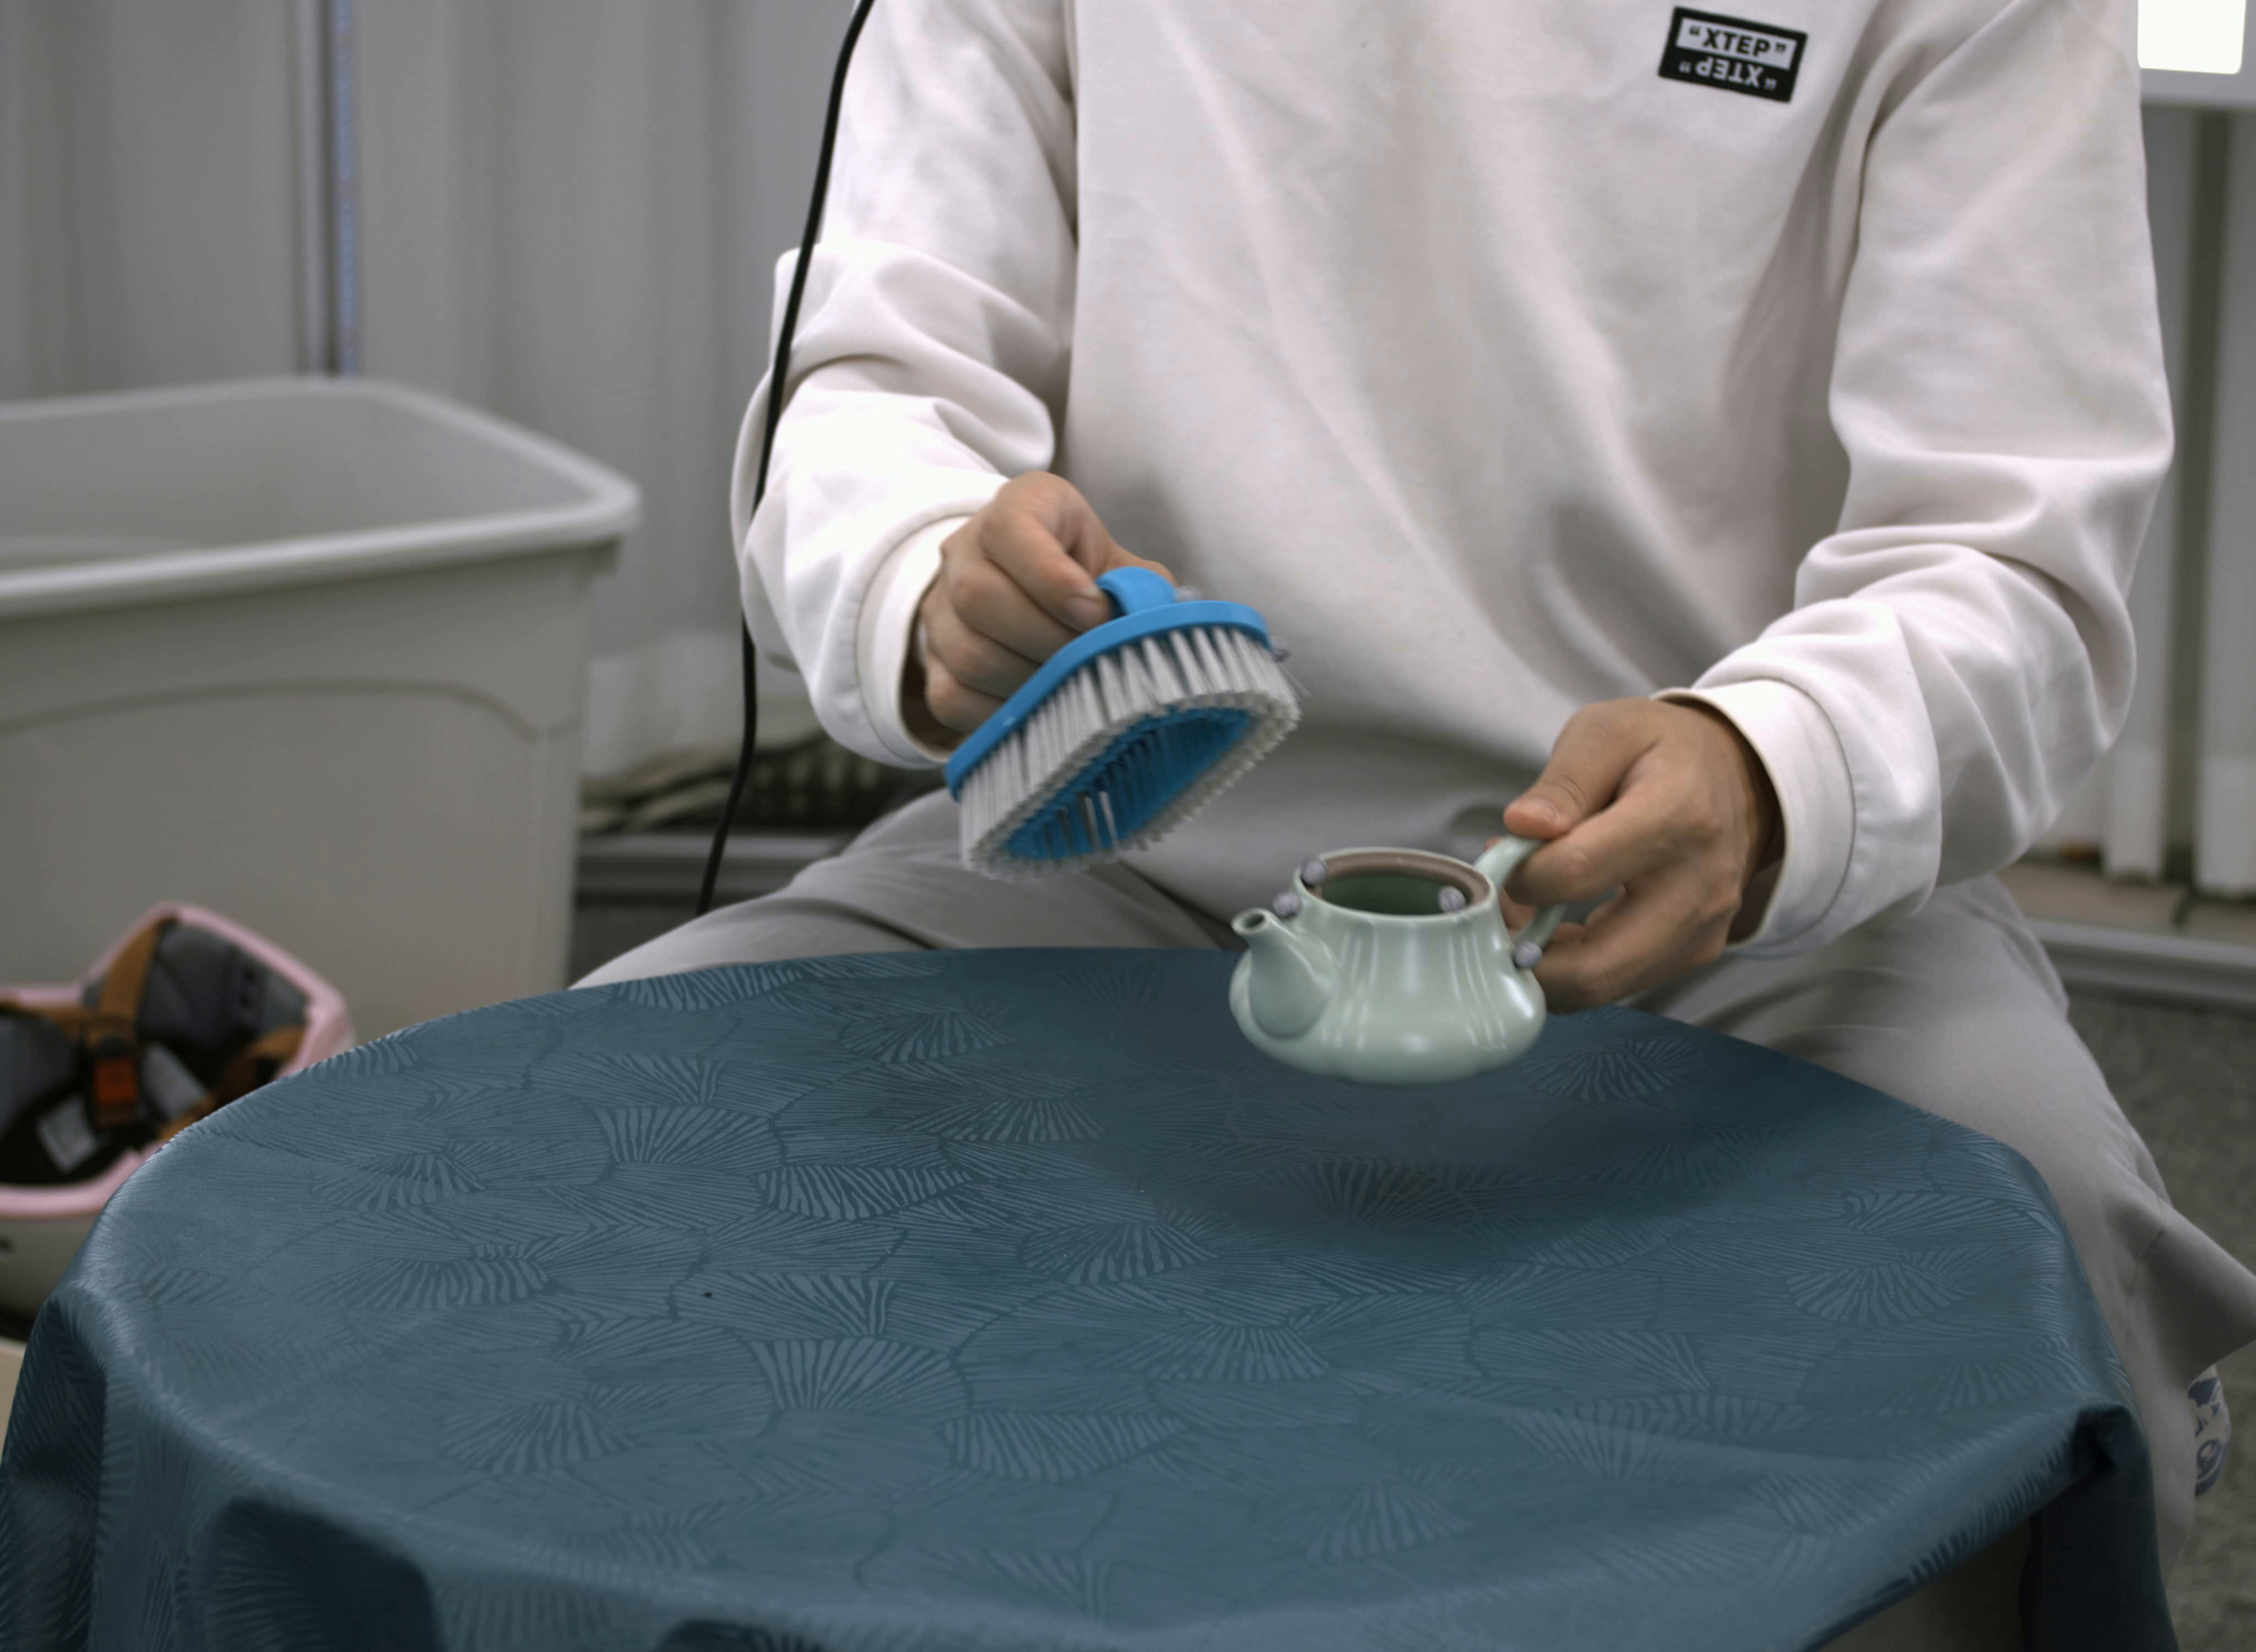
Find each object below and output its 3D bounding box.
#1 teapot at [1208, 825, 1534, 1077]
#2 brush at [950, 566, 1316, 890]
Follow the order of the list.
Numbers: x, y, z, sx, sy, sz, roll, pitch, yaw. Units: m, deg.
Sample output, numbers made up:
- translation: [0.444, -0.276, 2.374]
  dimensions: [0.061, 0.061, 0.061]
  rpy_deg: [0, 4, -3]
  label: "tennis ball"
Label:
- translation: [0.076, 0.039, 1.612]
  dimensions: [0.137, 0.062, 0.095]
  rpy_deg: [-15, 23, -42]
  label: "teapot"
- translation: [-0.005, -0.038, 1.645]
  dimensions: [0.085, 0.063, 0.142]
  rpy_deg: [-9, -22, -36]
  label: "brush"
